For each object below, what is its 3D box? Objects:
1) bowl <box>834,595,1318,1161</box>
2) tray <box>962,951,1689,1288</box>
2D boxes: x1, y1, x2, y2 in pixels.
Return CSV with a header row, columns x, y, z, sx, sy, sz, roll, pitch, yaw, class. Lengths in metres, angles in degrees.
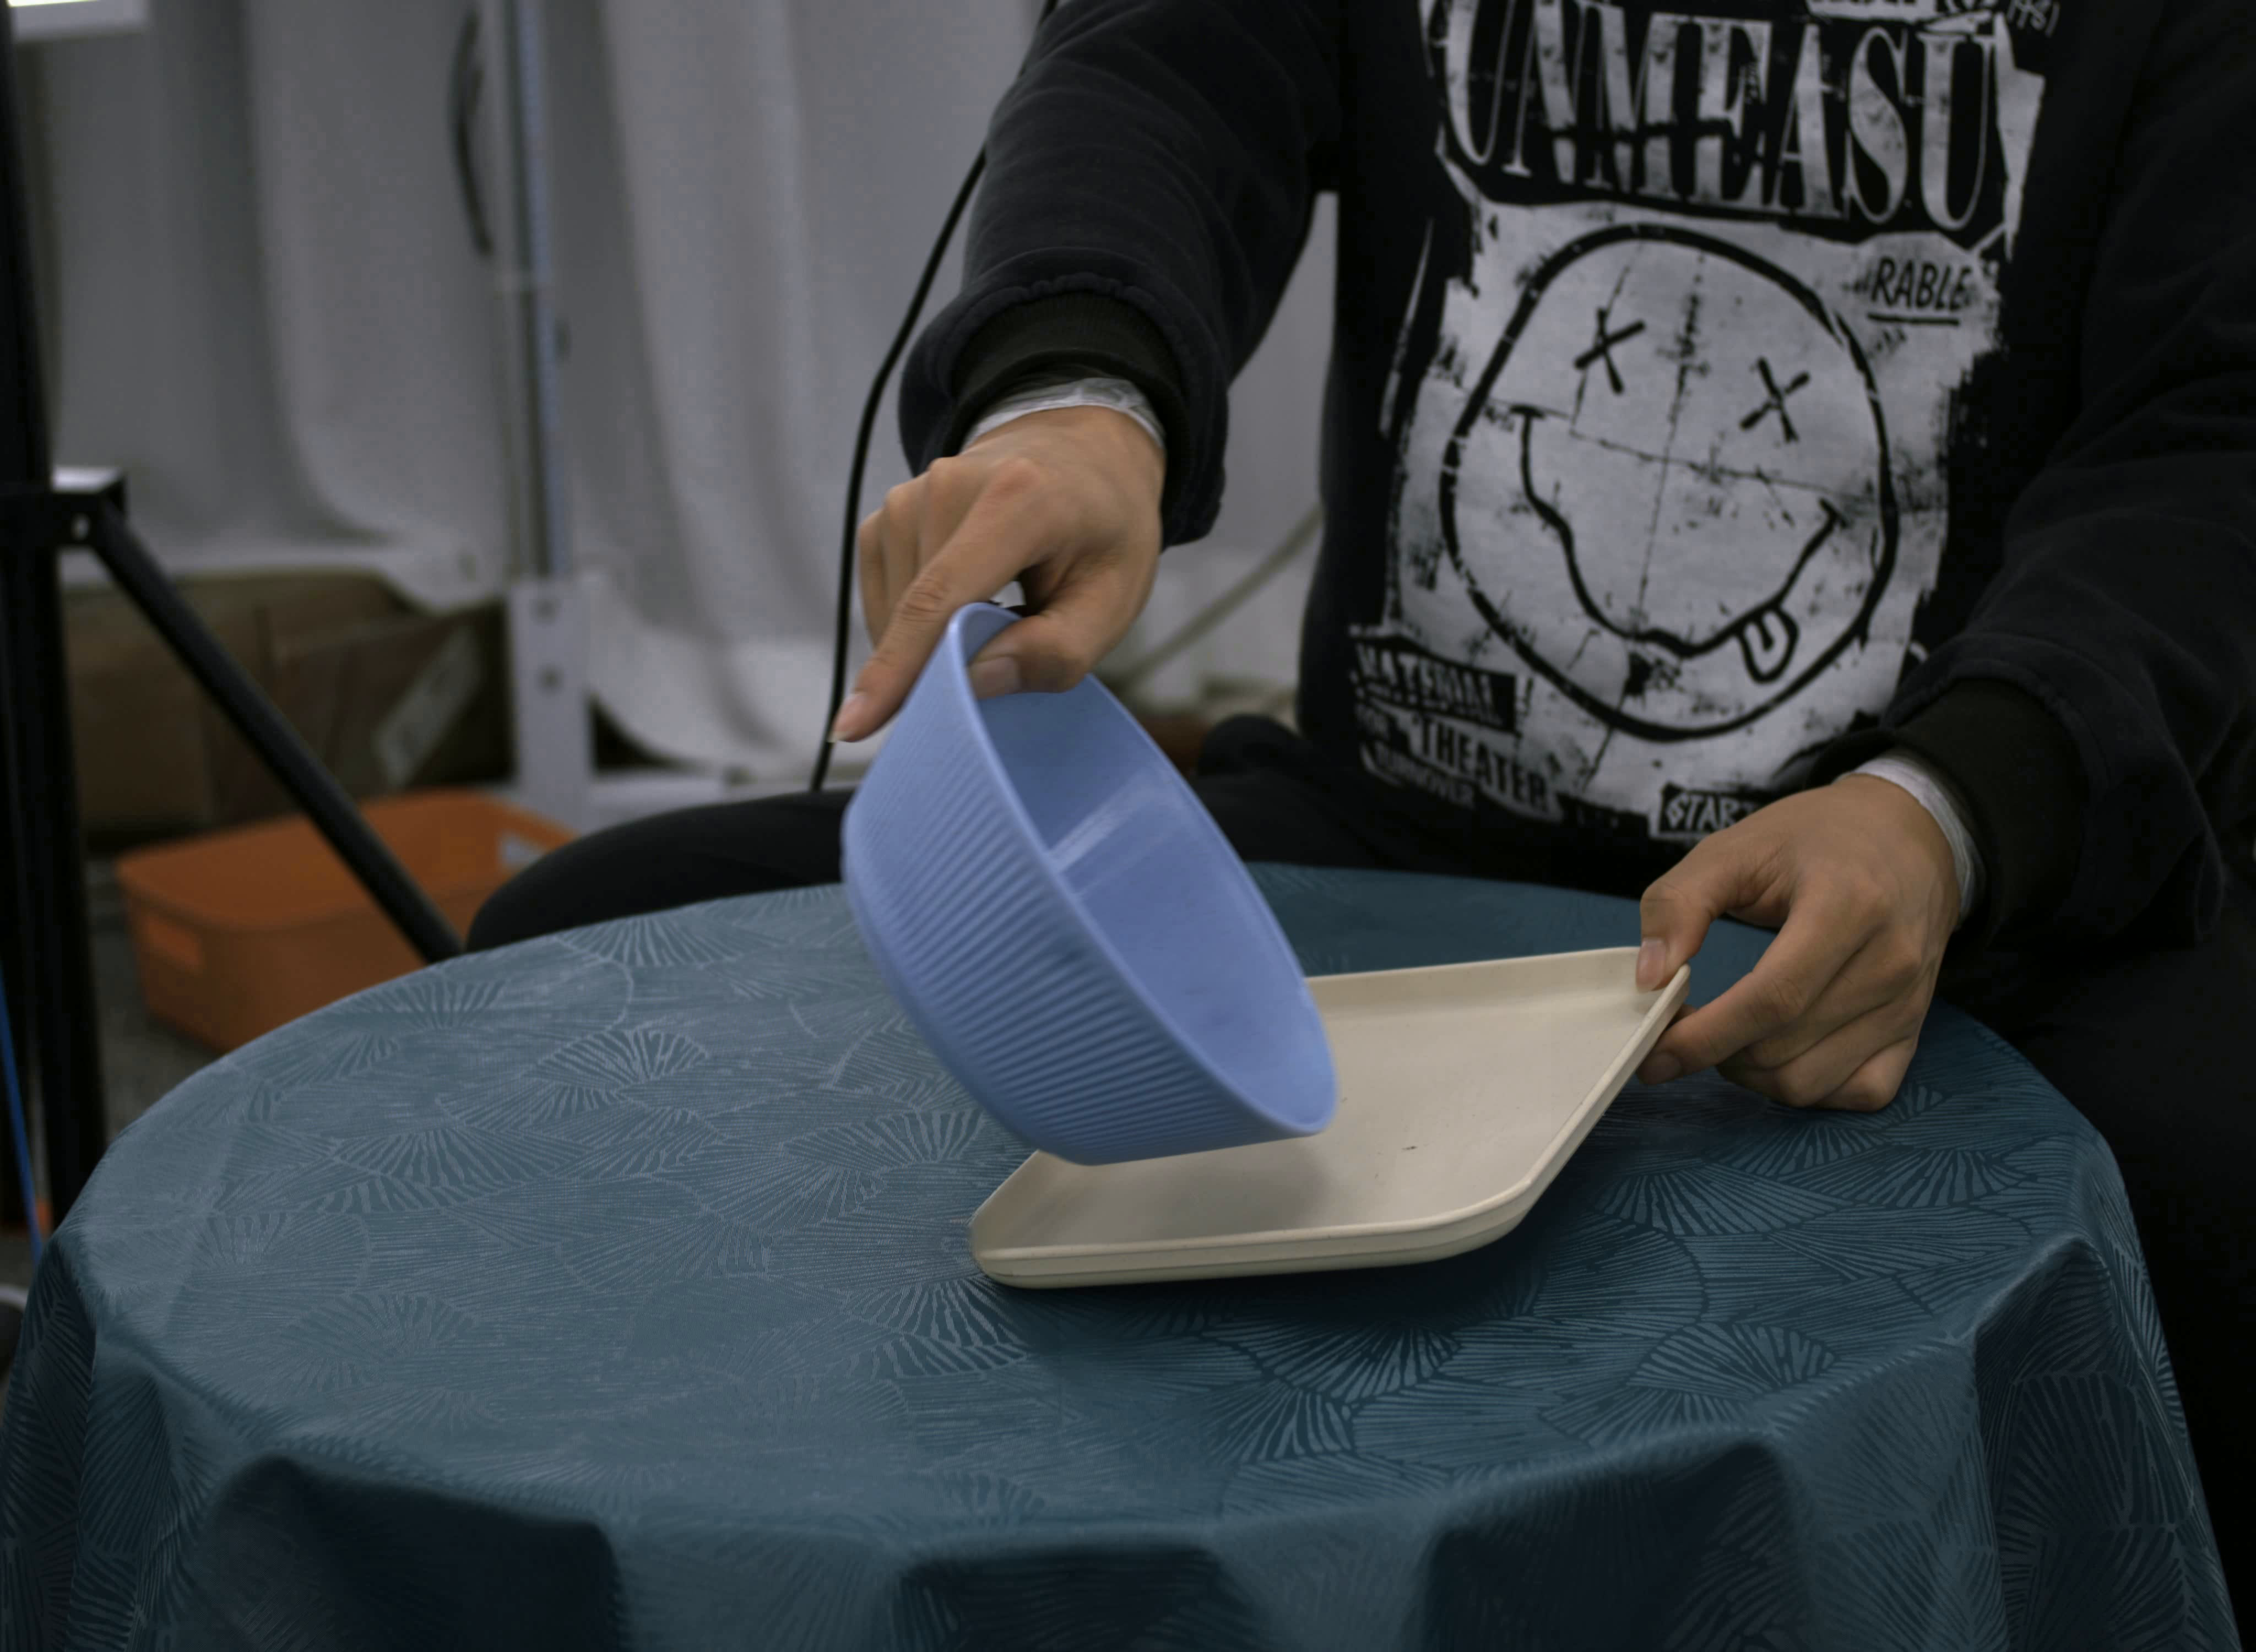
x,y,z,sx,sy,sz,roll,pitch,yaw,class
-0.023,0.026,1.480,0.071,0.175,0.176,-34,9,15,bowl
0.063,0.086,1.549,0.173,0.017,0.237,-5,15,23,tray
